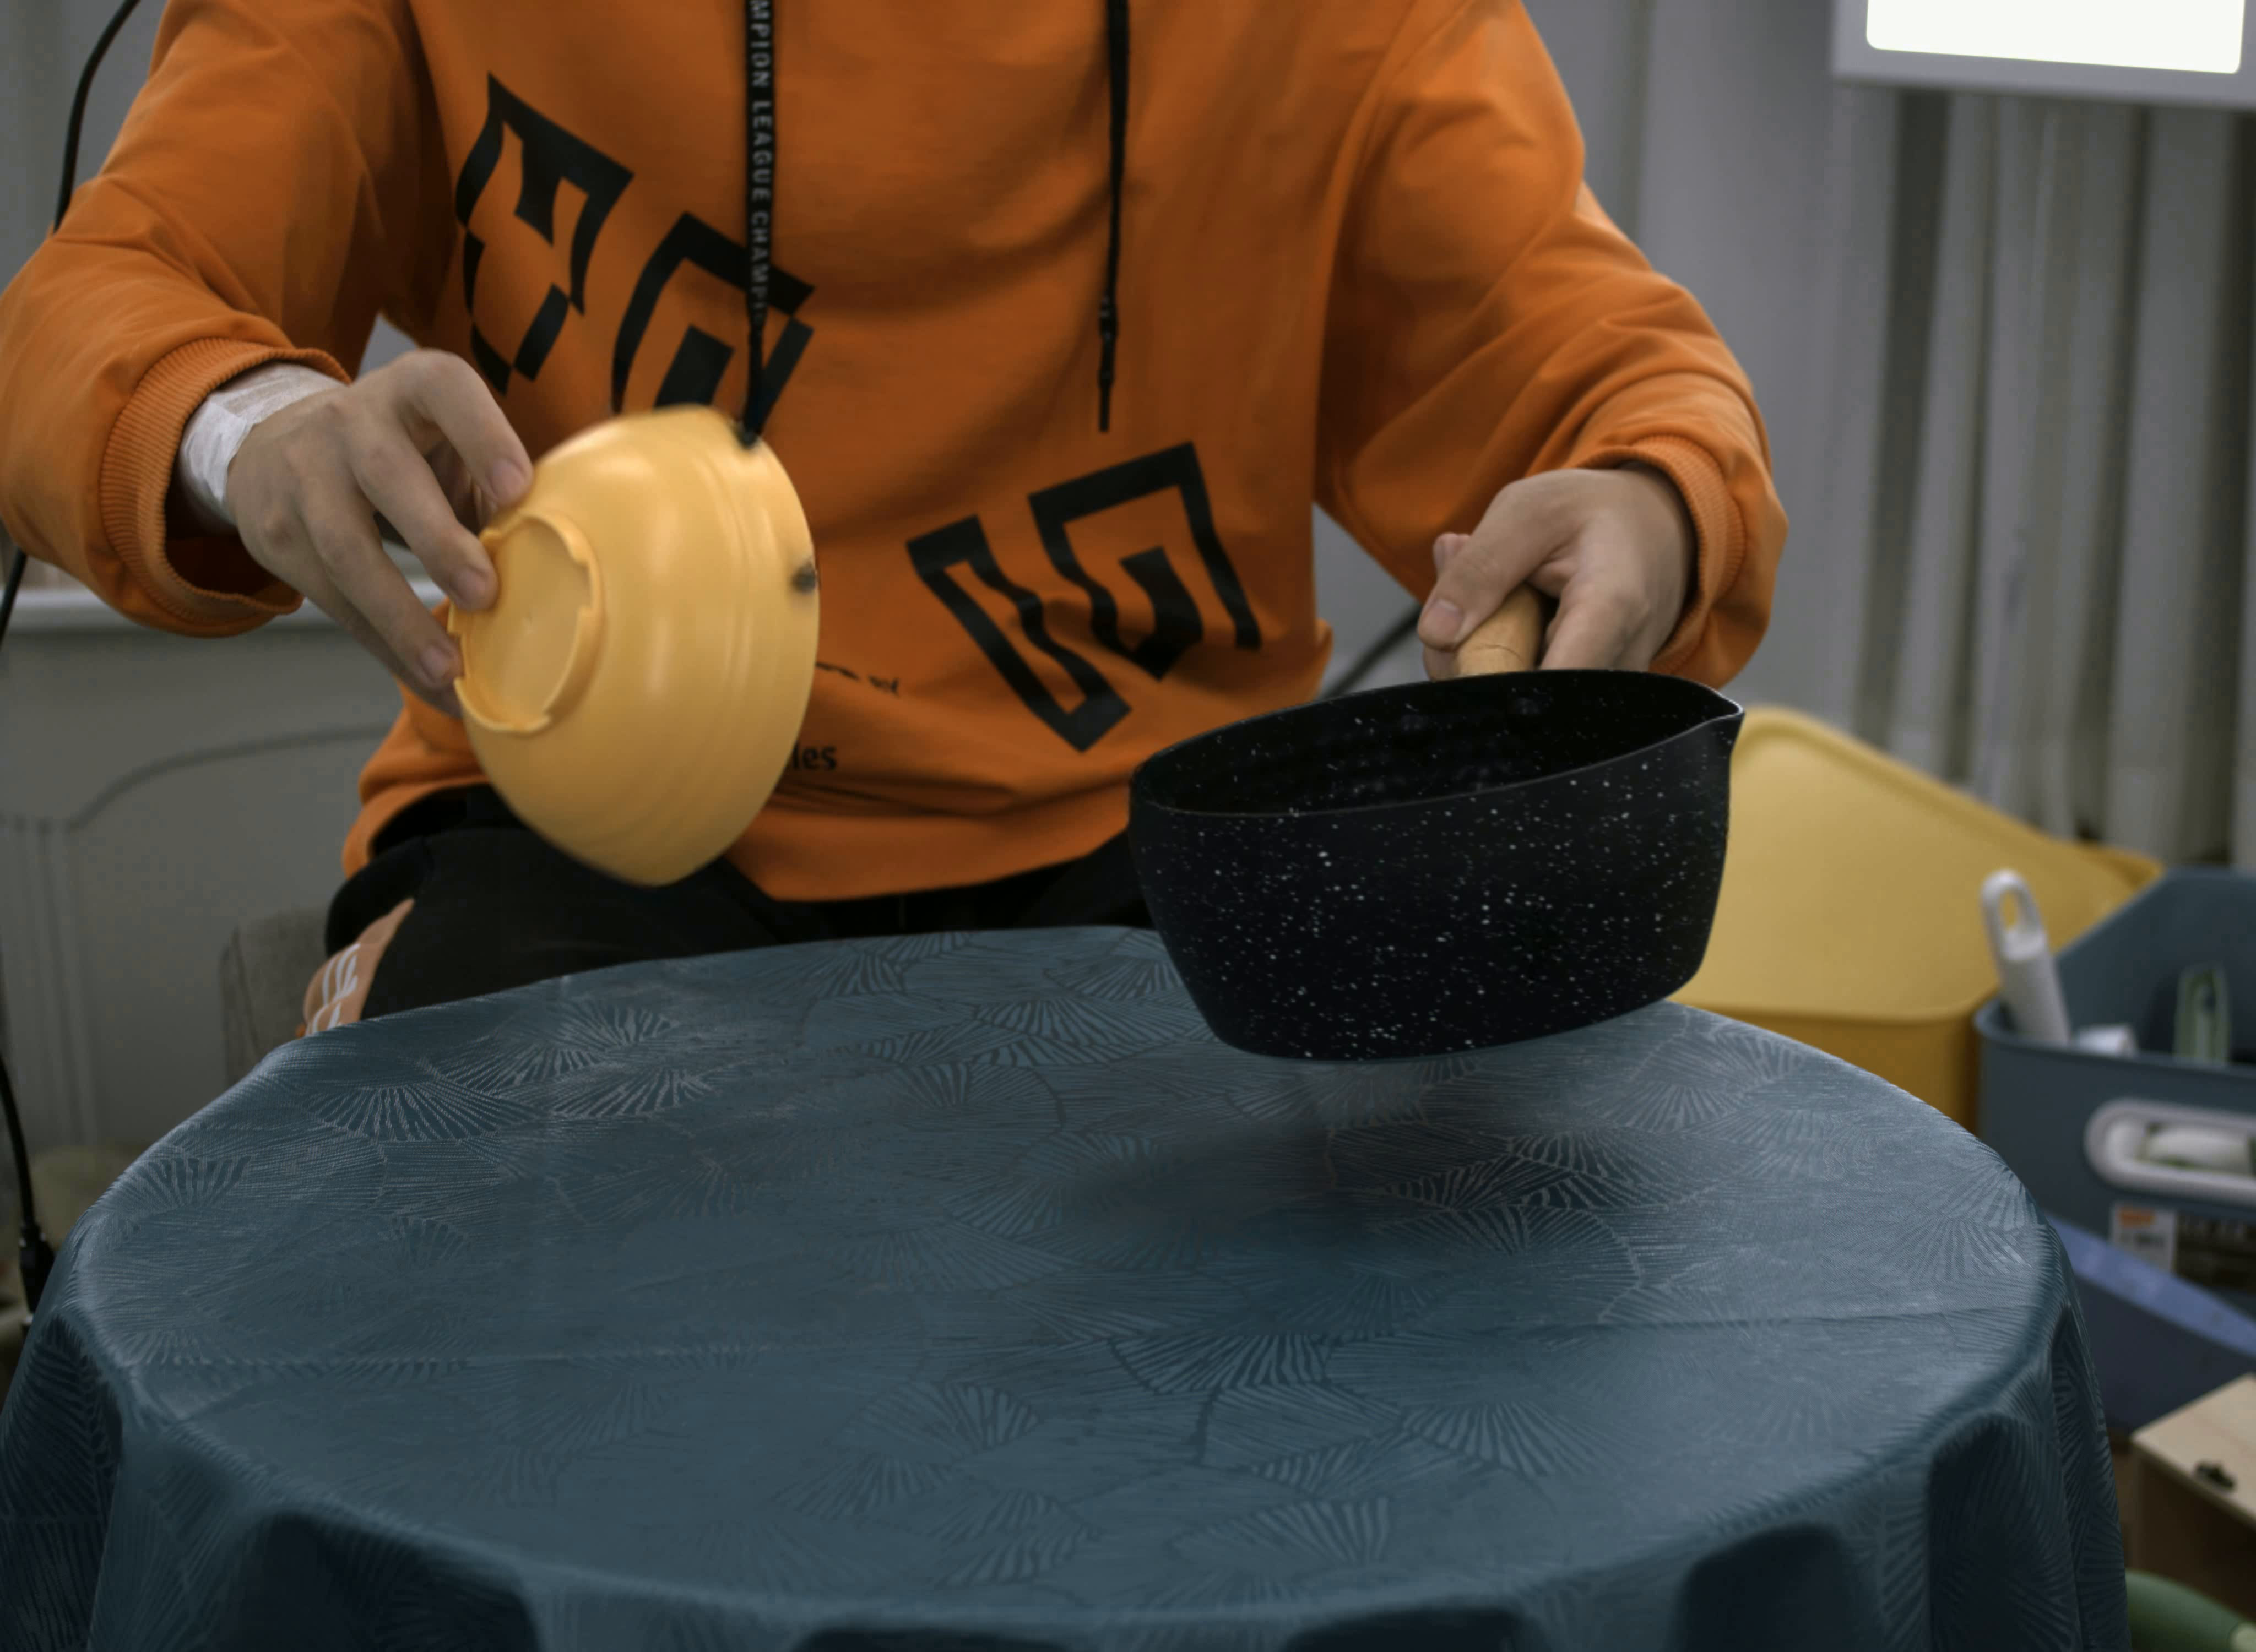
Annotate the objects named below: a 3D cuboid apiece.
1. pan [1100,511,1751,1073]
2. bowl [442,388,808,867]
[{"bbox_3d":[0.108,-0.016,1.690,0.206,0.109,0.342,-7,13,13],"label":"pan"},{"bbox_3d":[-0.162,-0.063,1.565,0.060,0.146,0.143,7,8,-42],"label":"bowl"}]
